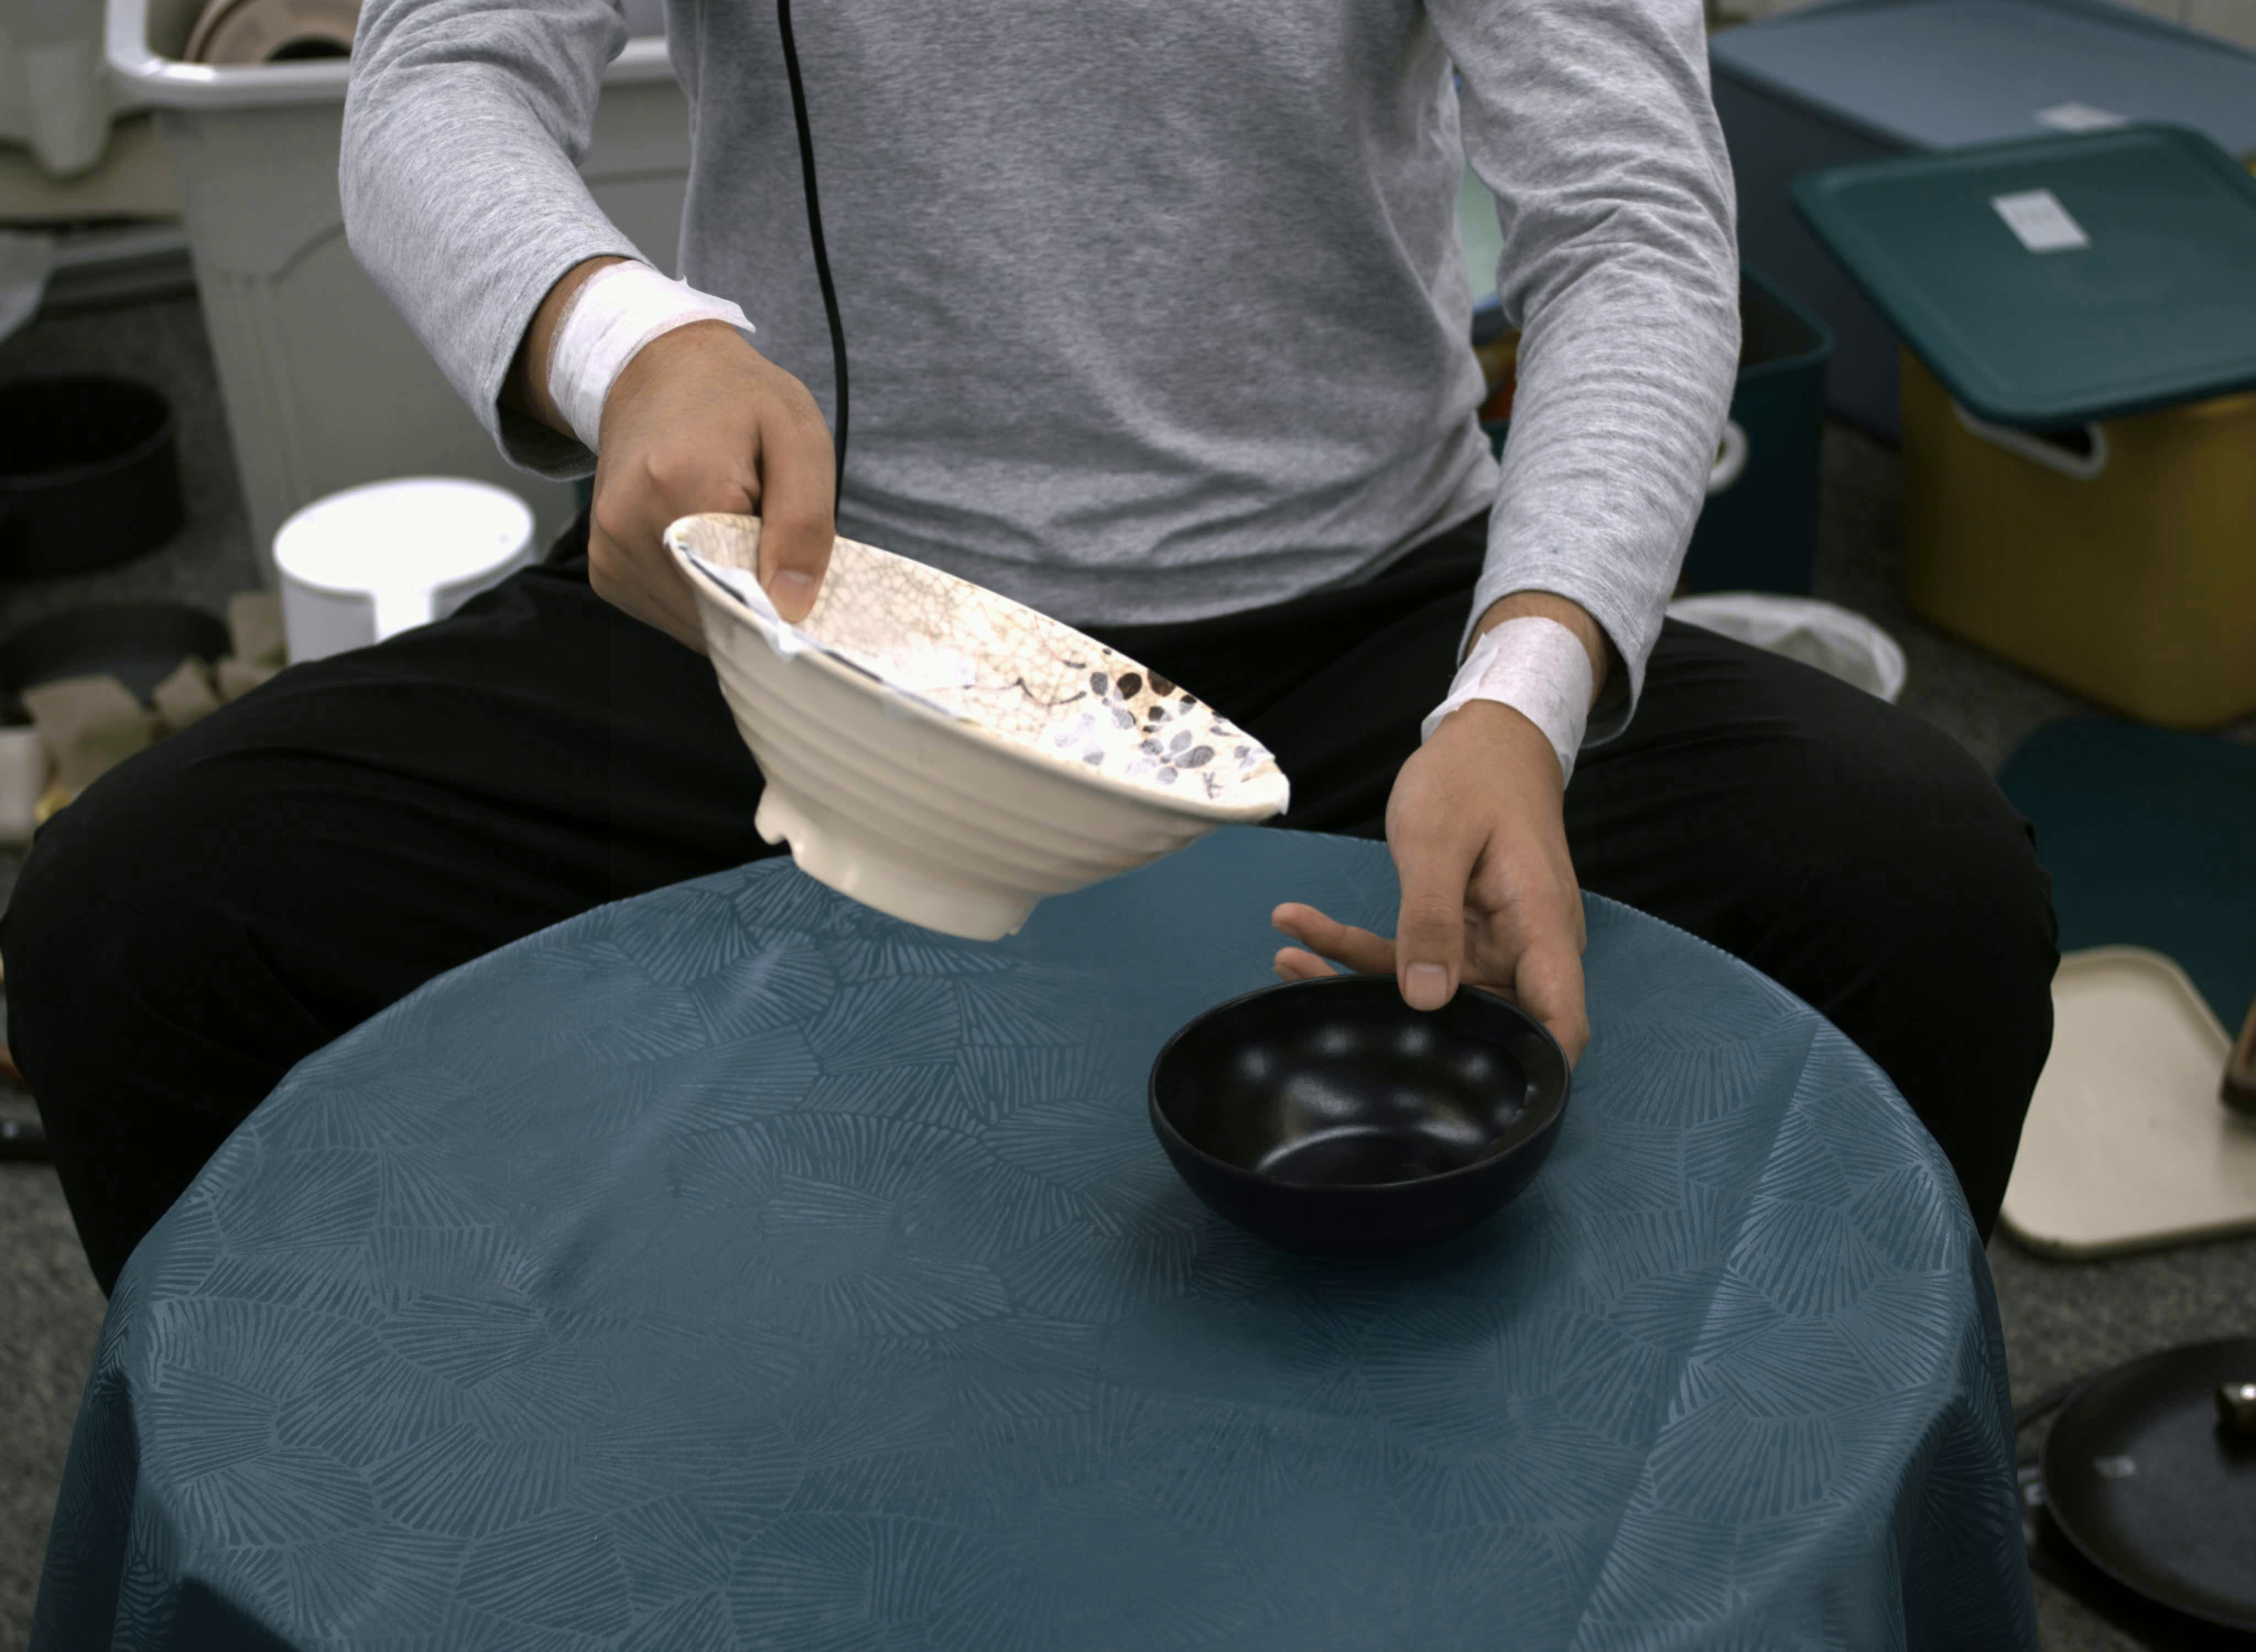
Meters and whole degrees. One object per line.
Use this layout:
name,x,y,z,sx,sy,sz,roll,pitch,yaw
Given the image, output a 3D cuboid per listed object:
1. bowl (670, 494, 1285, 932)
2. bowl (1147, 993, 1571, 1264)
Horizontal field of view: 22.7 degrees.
bowl,-0.059,-0.022,1.703,0.203,0.077,0.205,24,12,-4
bowl,0.076,0.106,1.840,0.139,0.049,0.142,-1,23,1
